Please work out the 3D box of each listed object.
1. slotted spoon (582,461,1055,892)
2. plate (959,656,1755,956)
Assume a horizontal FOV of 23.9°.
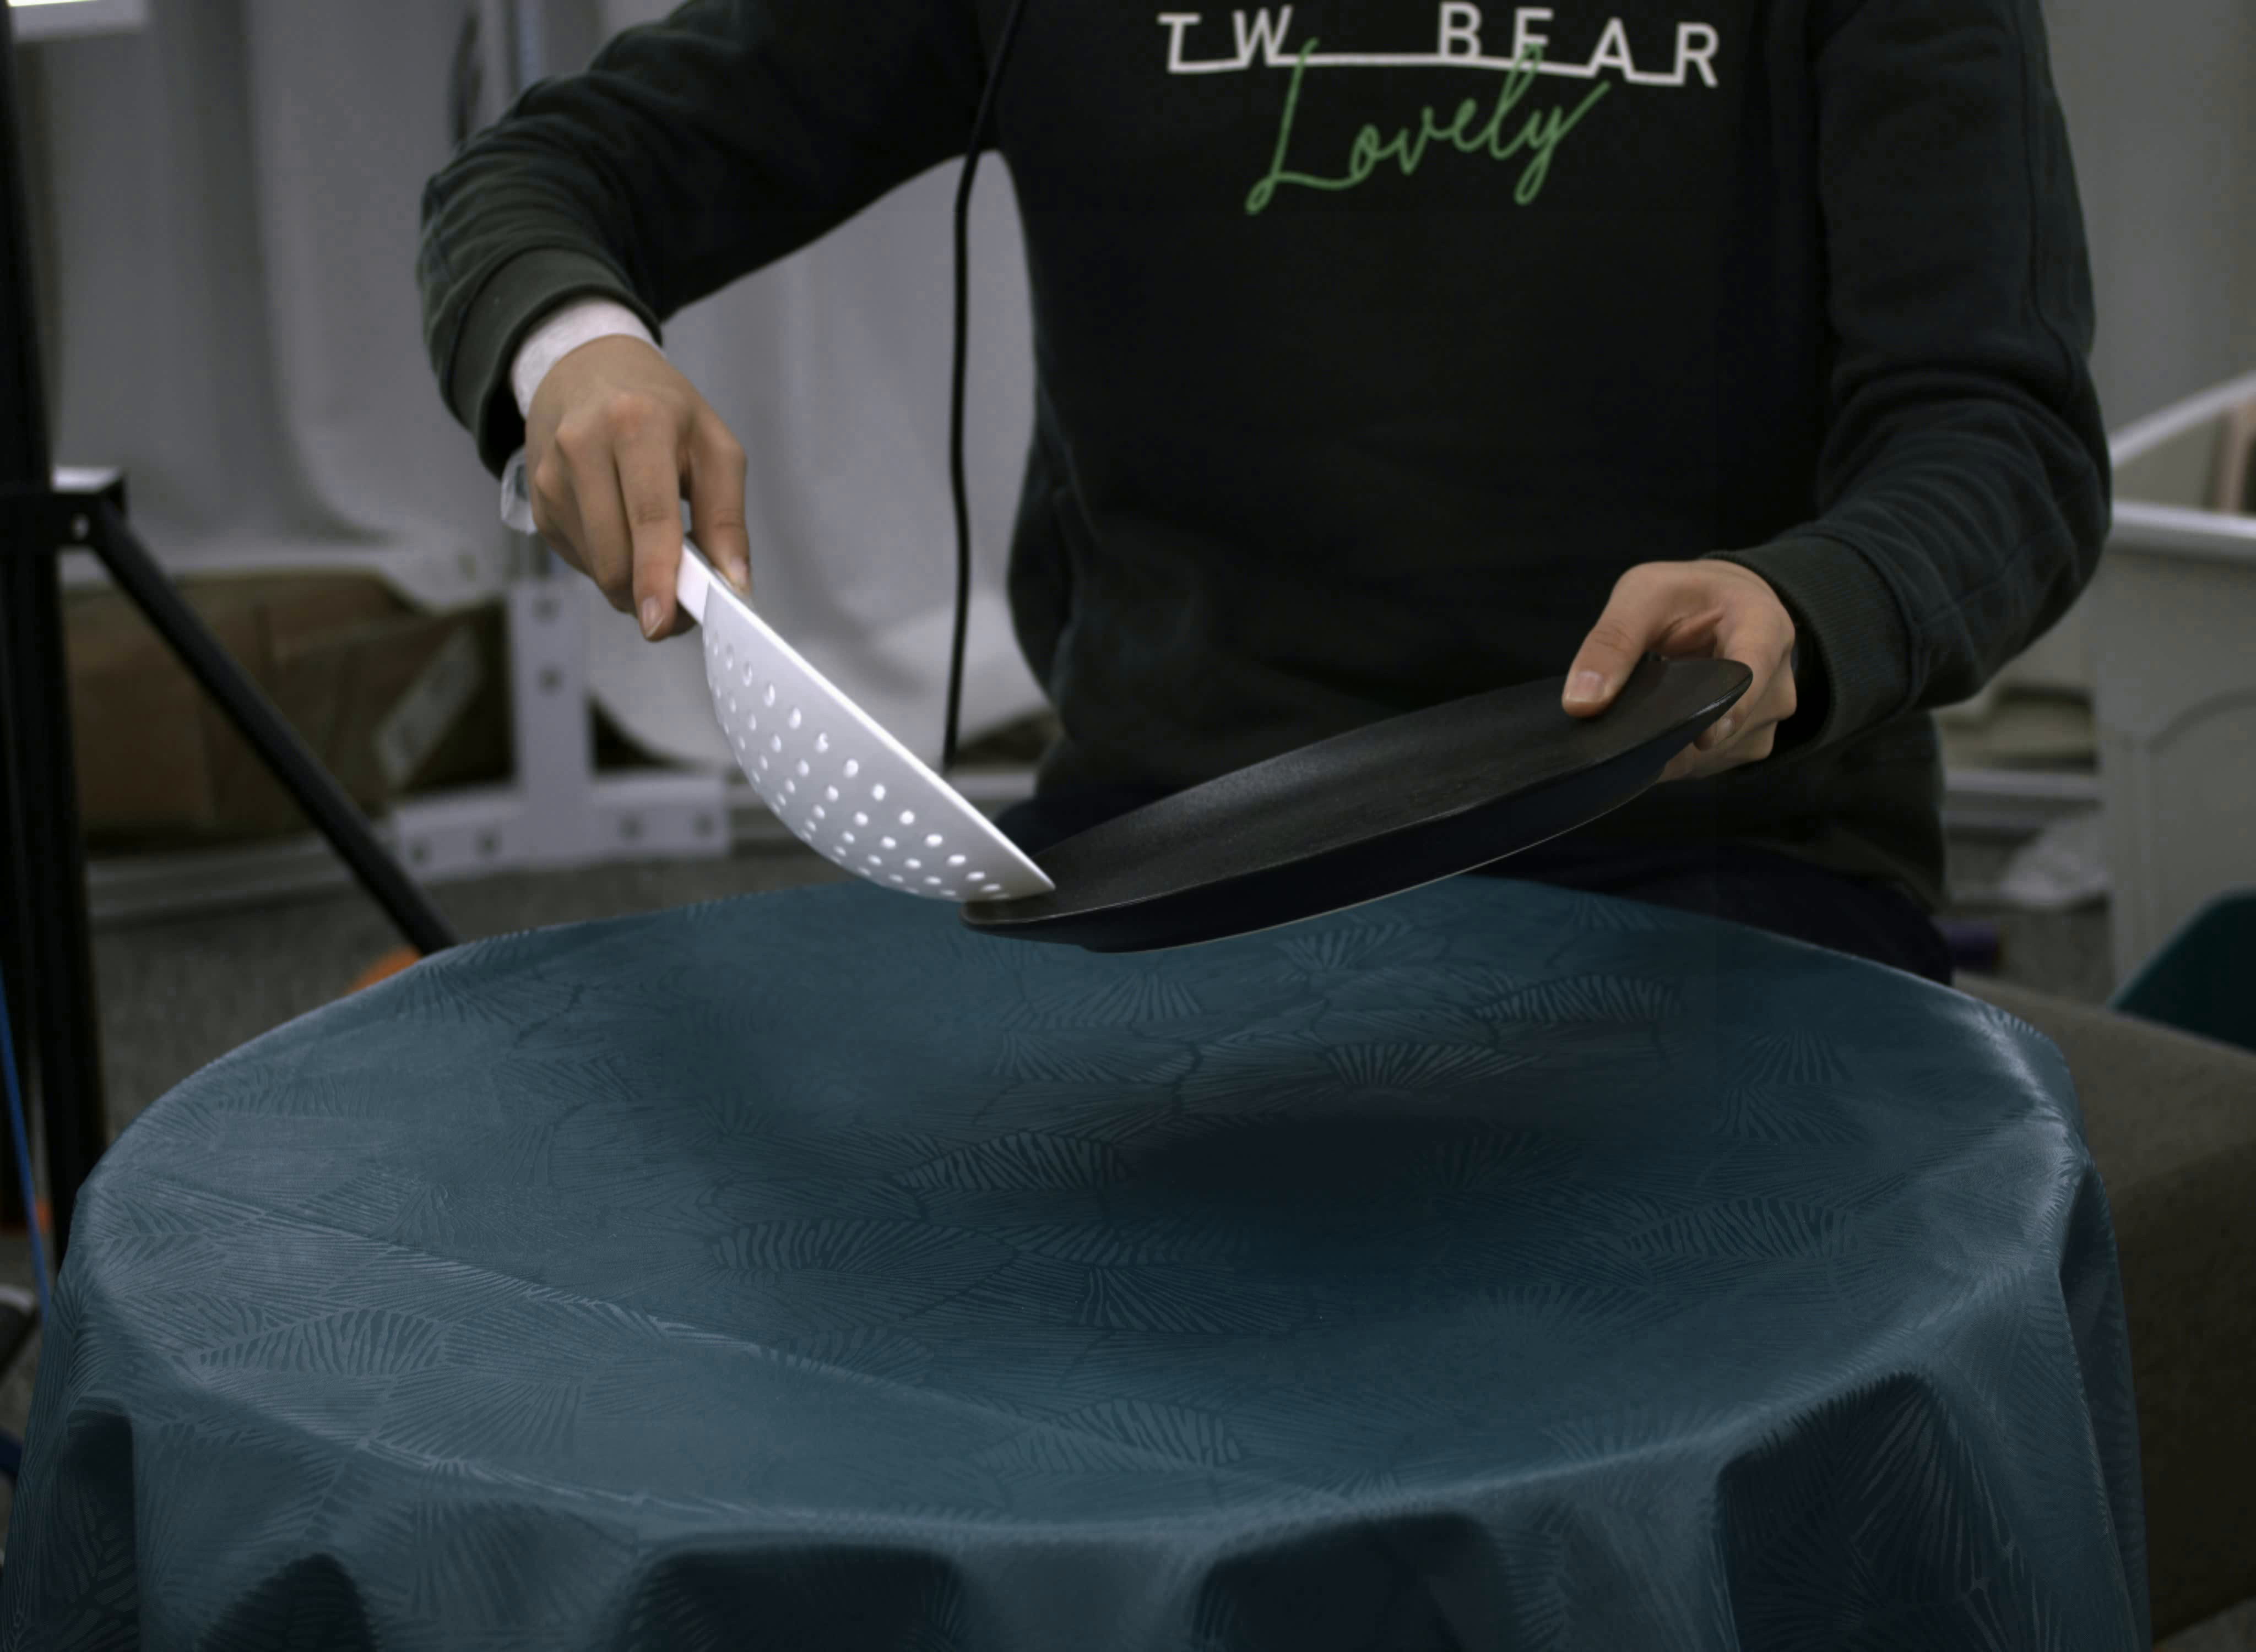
[{"bbox_3d":[-0.114,-0.059,1.667,0.046,0.133,0.356,-45,28,3],"label":"slotted spoon"},{"bbox_3d":[0.069,-0.002,1.557,0.243,0.023,0.245,-18,7,1],"label":"plate"}]
